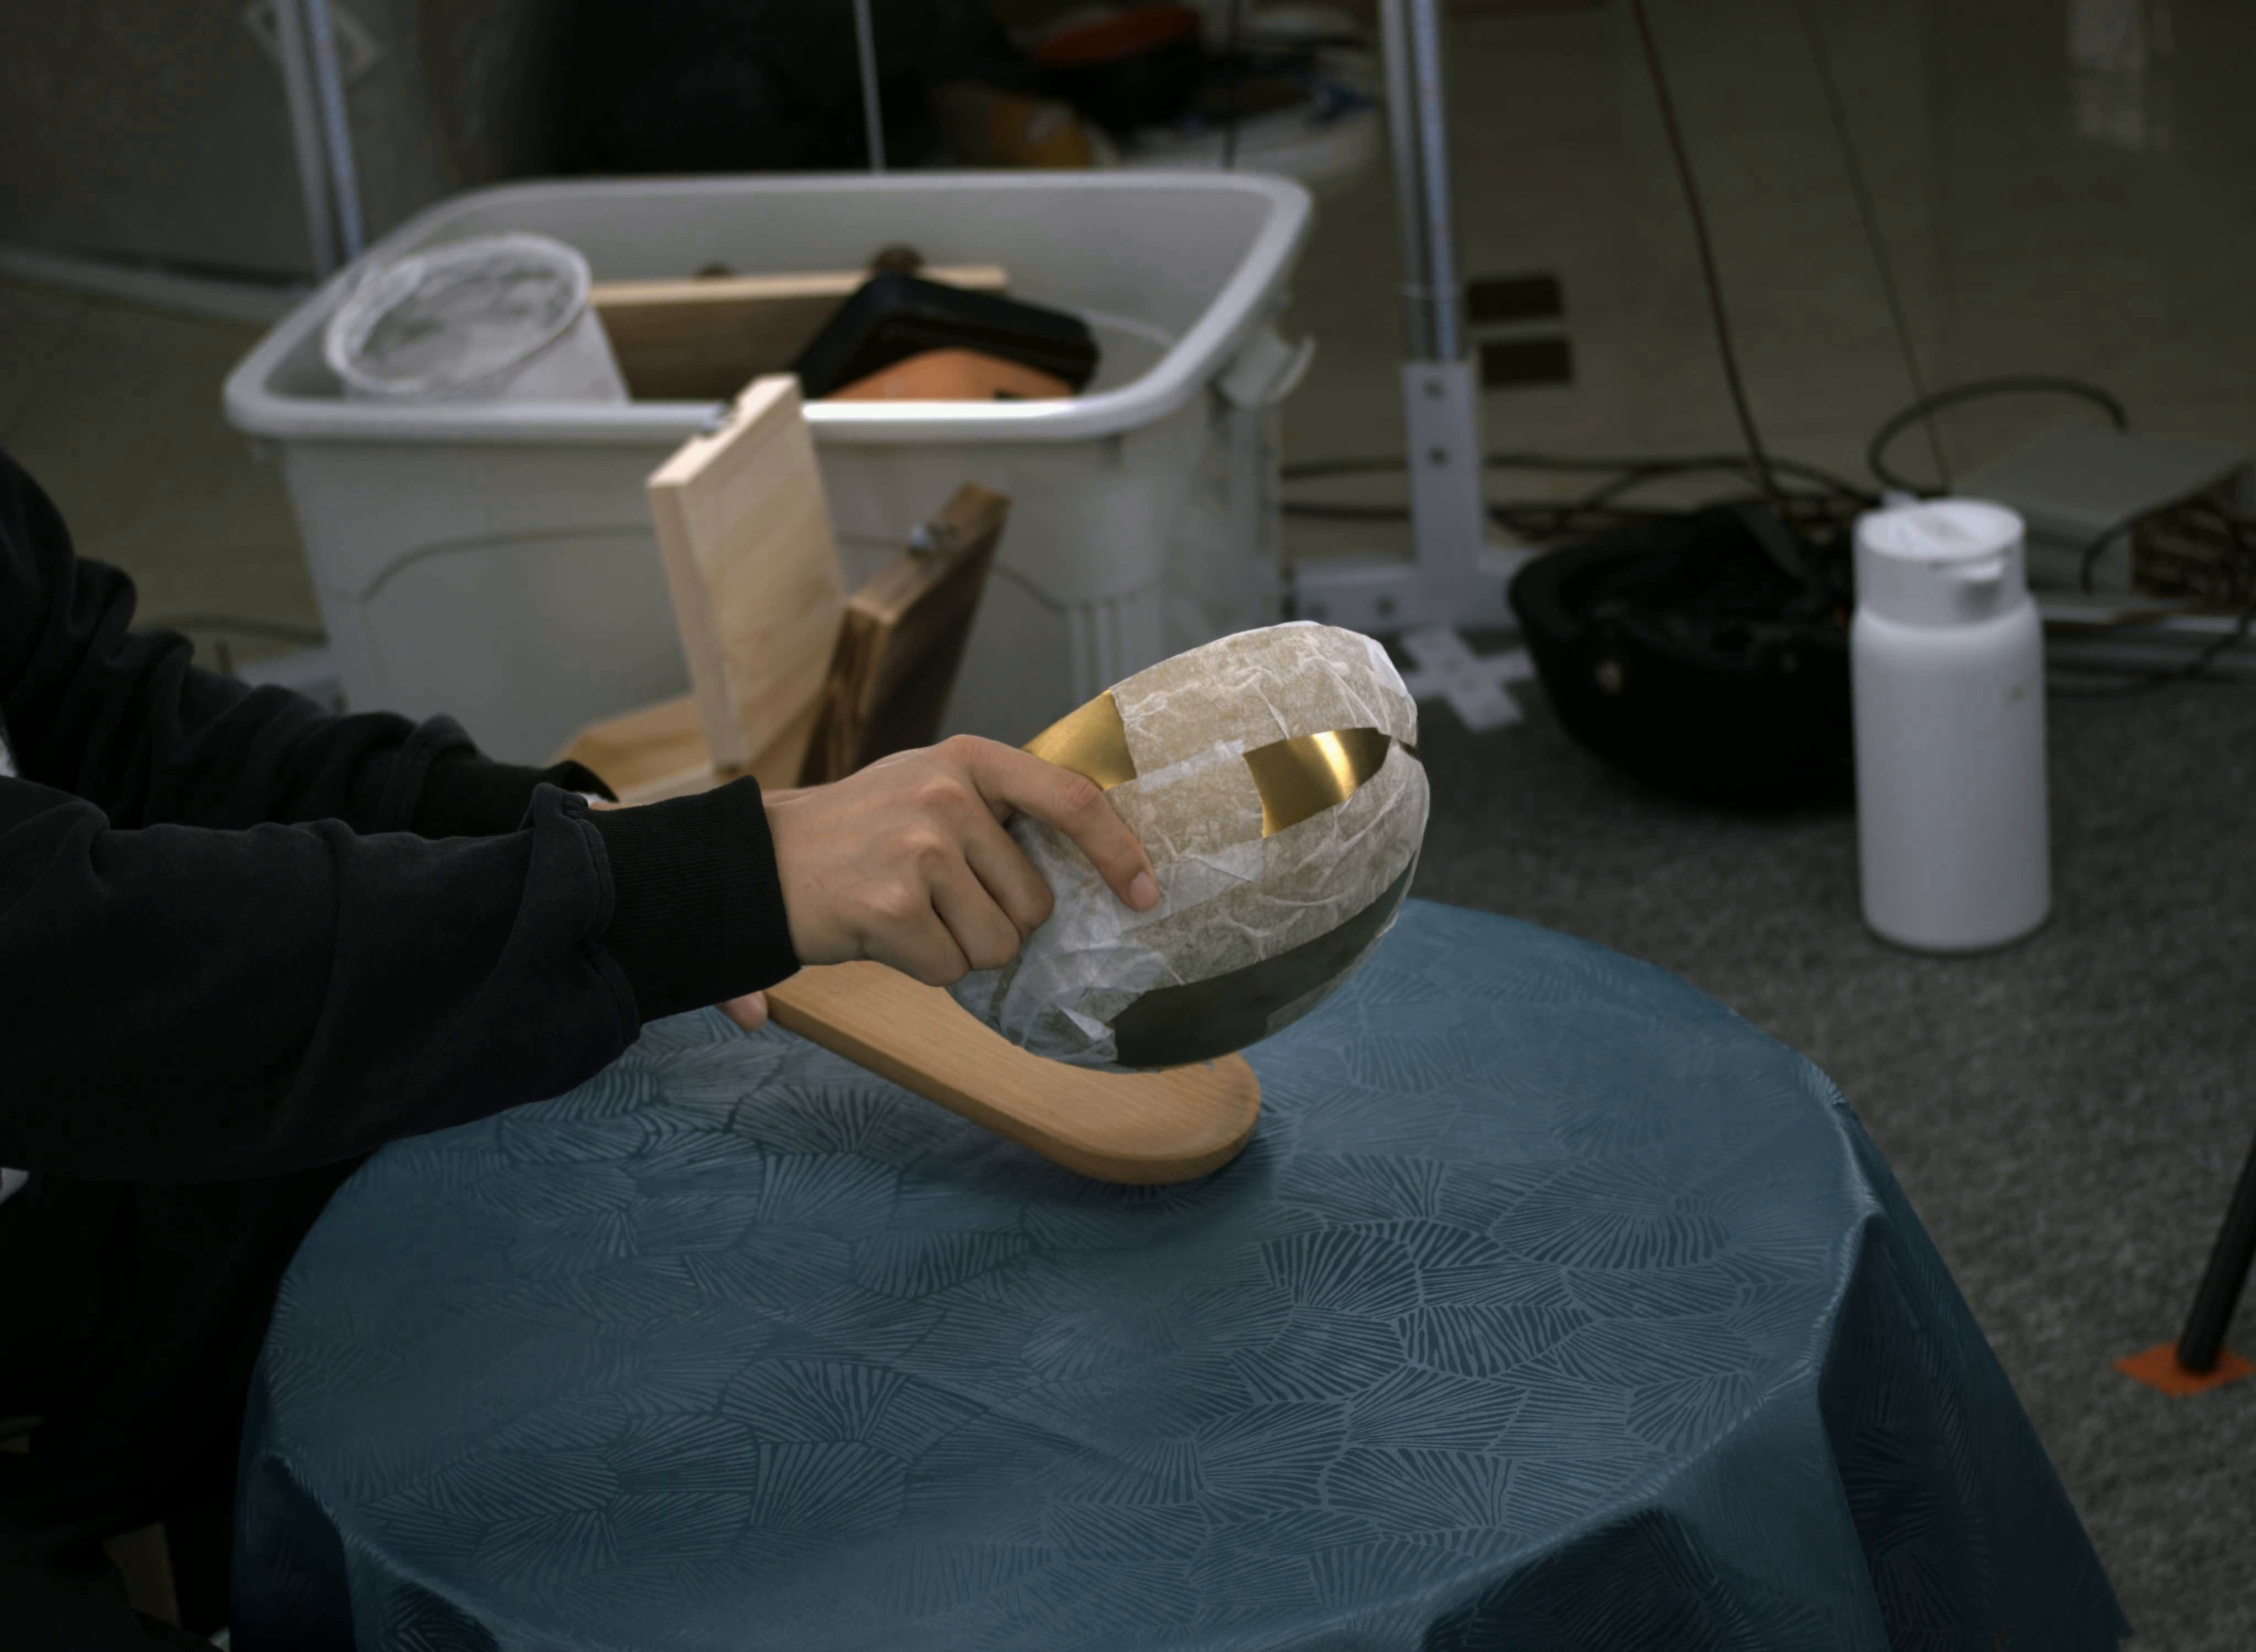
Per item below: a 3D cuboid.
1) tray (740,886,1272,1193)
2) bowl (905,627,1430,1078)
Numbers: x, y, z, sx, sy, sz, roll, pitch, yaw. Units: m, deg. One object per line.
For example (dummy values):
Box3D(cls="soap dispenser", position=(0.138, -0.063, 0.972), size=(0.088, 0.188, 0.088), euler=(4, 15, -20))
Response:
Box3D(cls="tray", position=(-0.049, 0.082, 2.207), size=(0.229, 0.021, 0.100), euler=(26, 38, 23))
Box3D(cls="bowl", position=(0.028, 0.029, 2.039), size=(0.213, 0.218, 0.093), euler=(-19, 64, -26))
